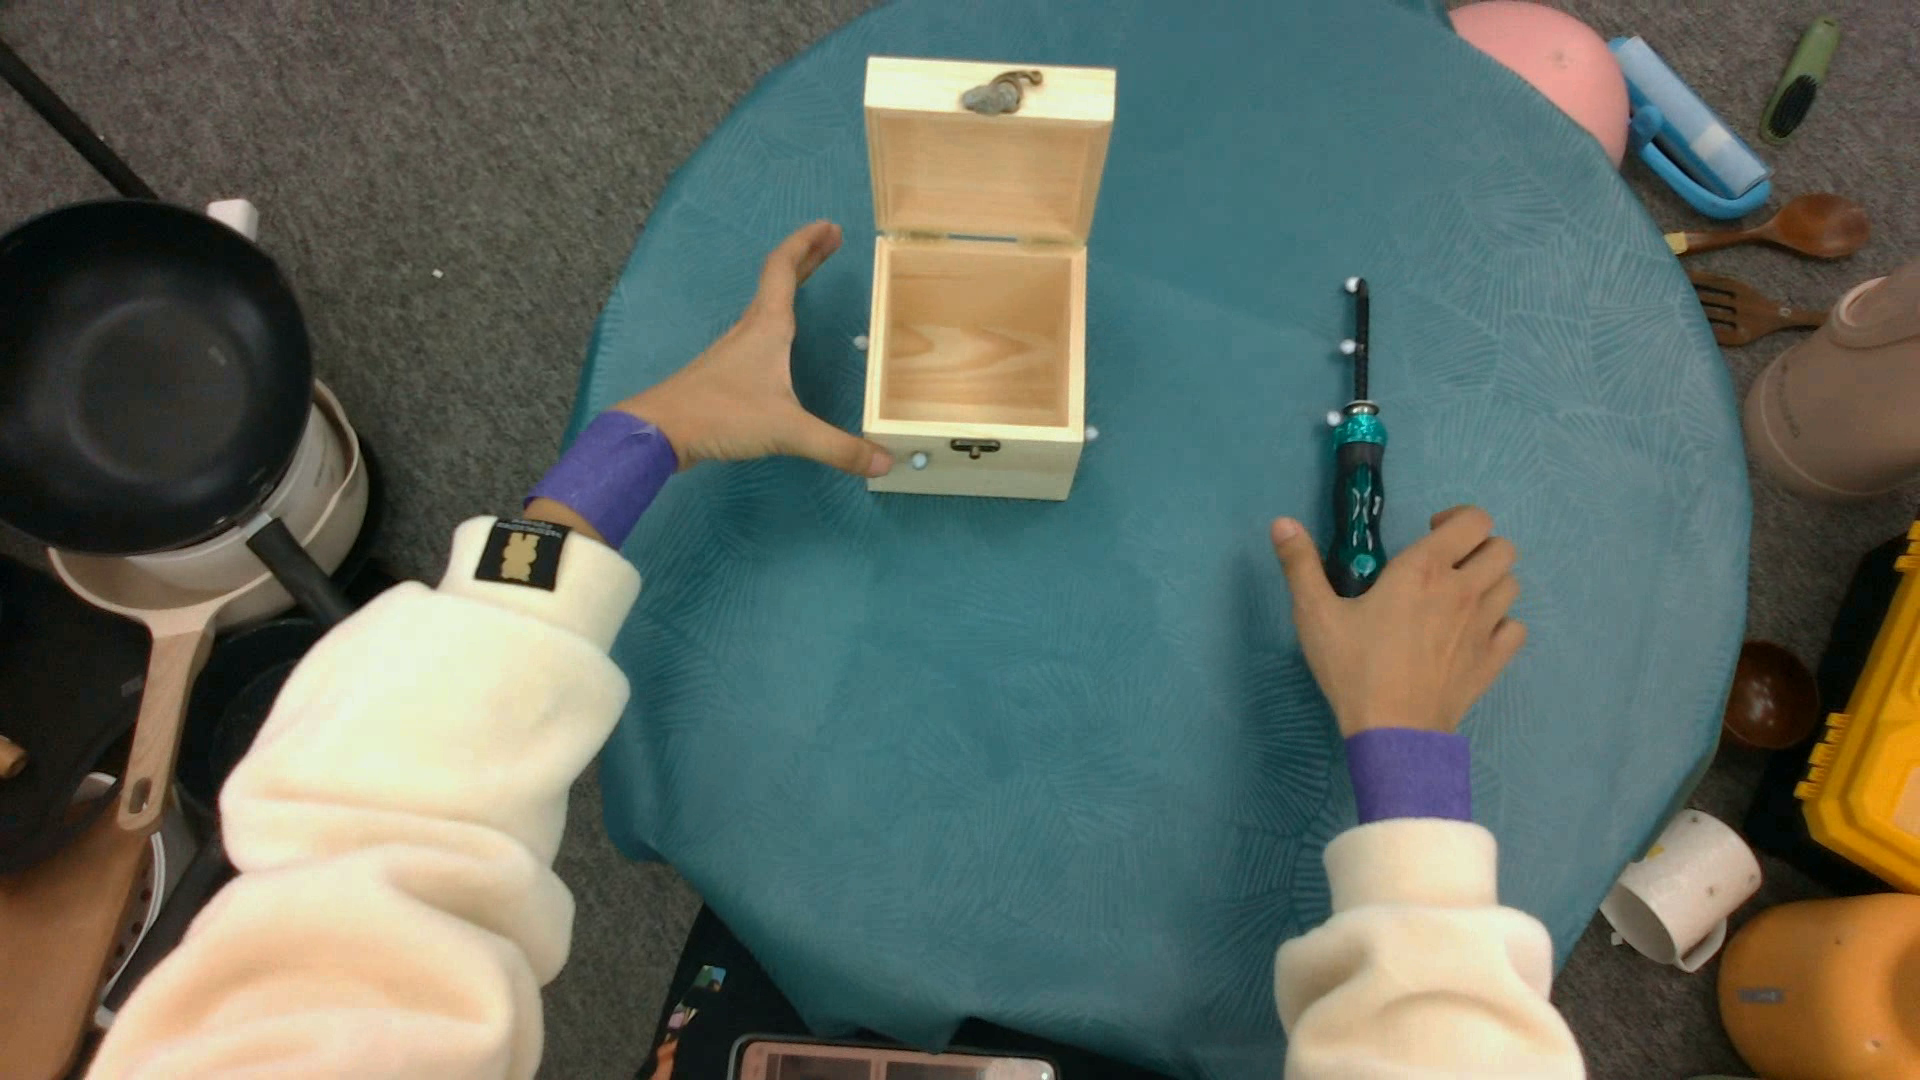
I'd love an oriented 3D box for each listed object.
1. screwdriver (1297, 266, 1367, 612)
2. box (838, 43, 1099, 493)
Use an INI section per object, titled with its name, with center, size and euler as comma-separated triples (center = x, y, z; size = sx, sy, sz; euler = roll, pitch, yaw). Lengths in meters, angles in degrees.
[screwdriver]
center = 0.190, -0.057, 0.698
size = 0.034, 0.033, 0.190
euler = 7, 70, 0
[box]
center = -0.001, -0.112, 0.625
size = 0.102, 0.184, 0.134
euler = 3, 70, -2
